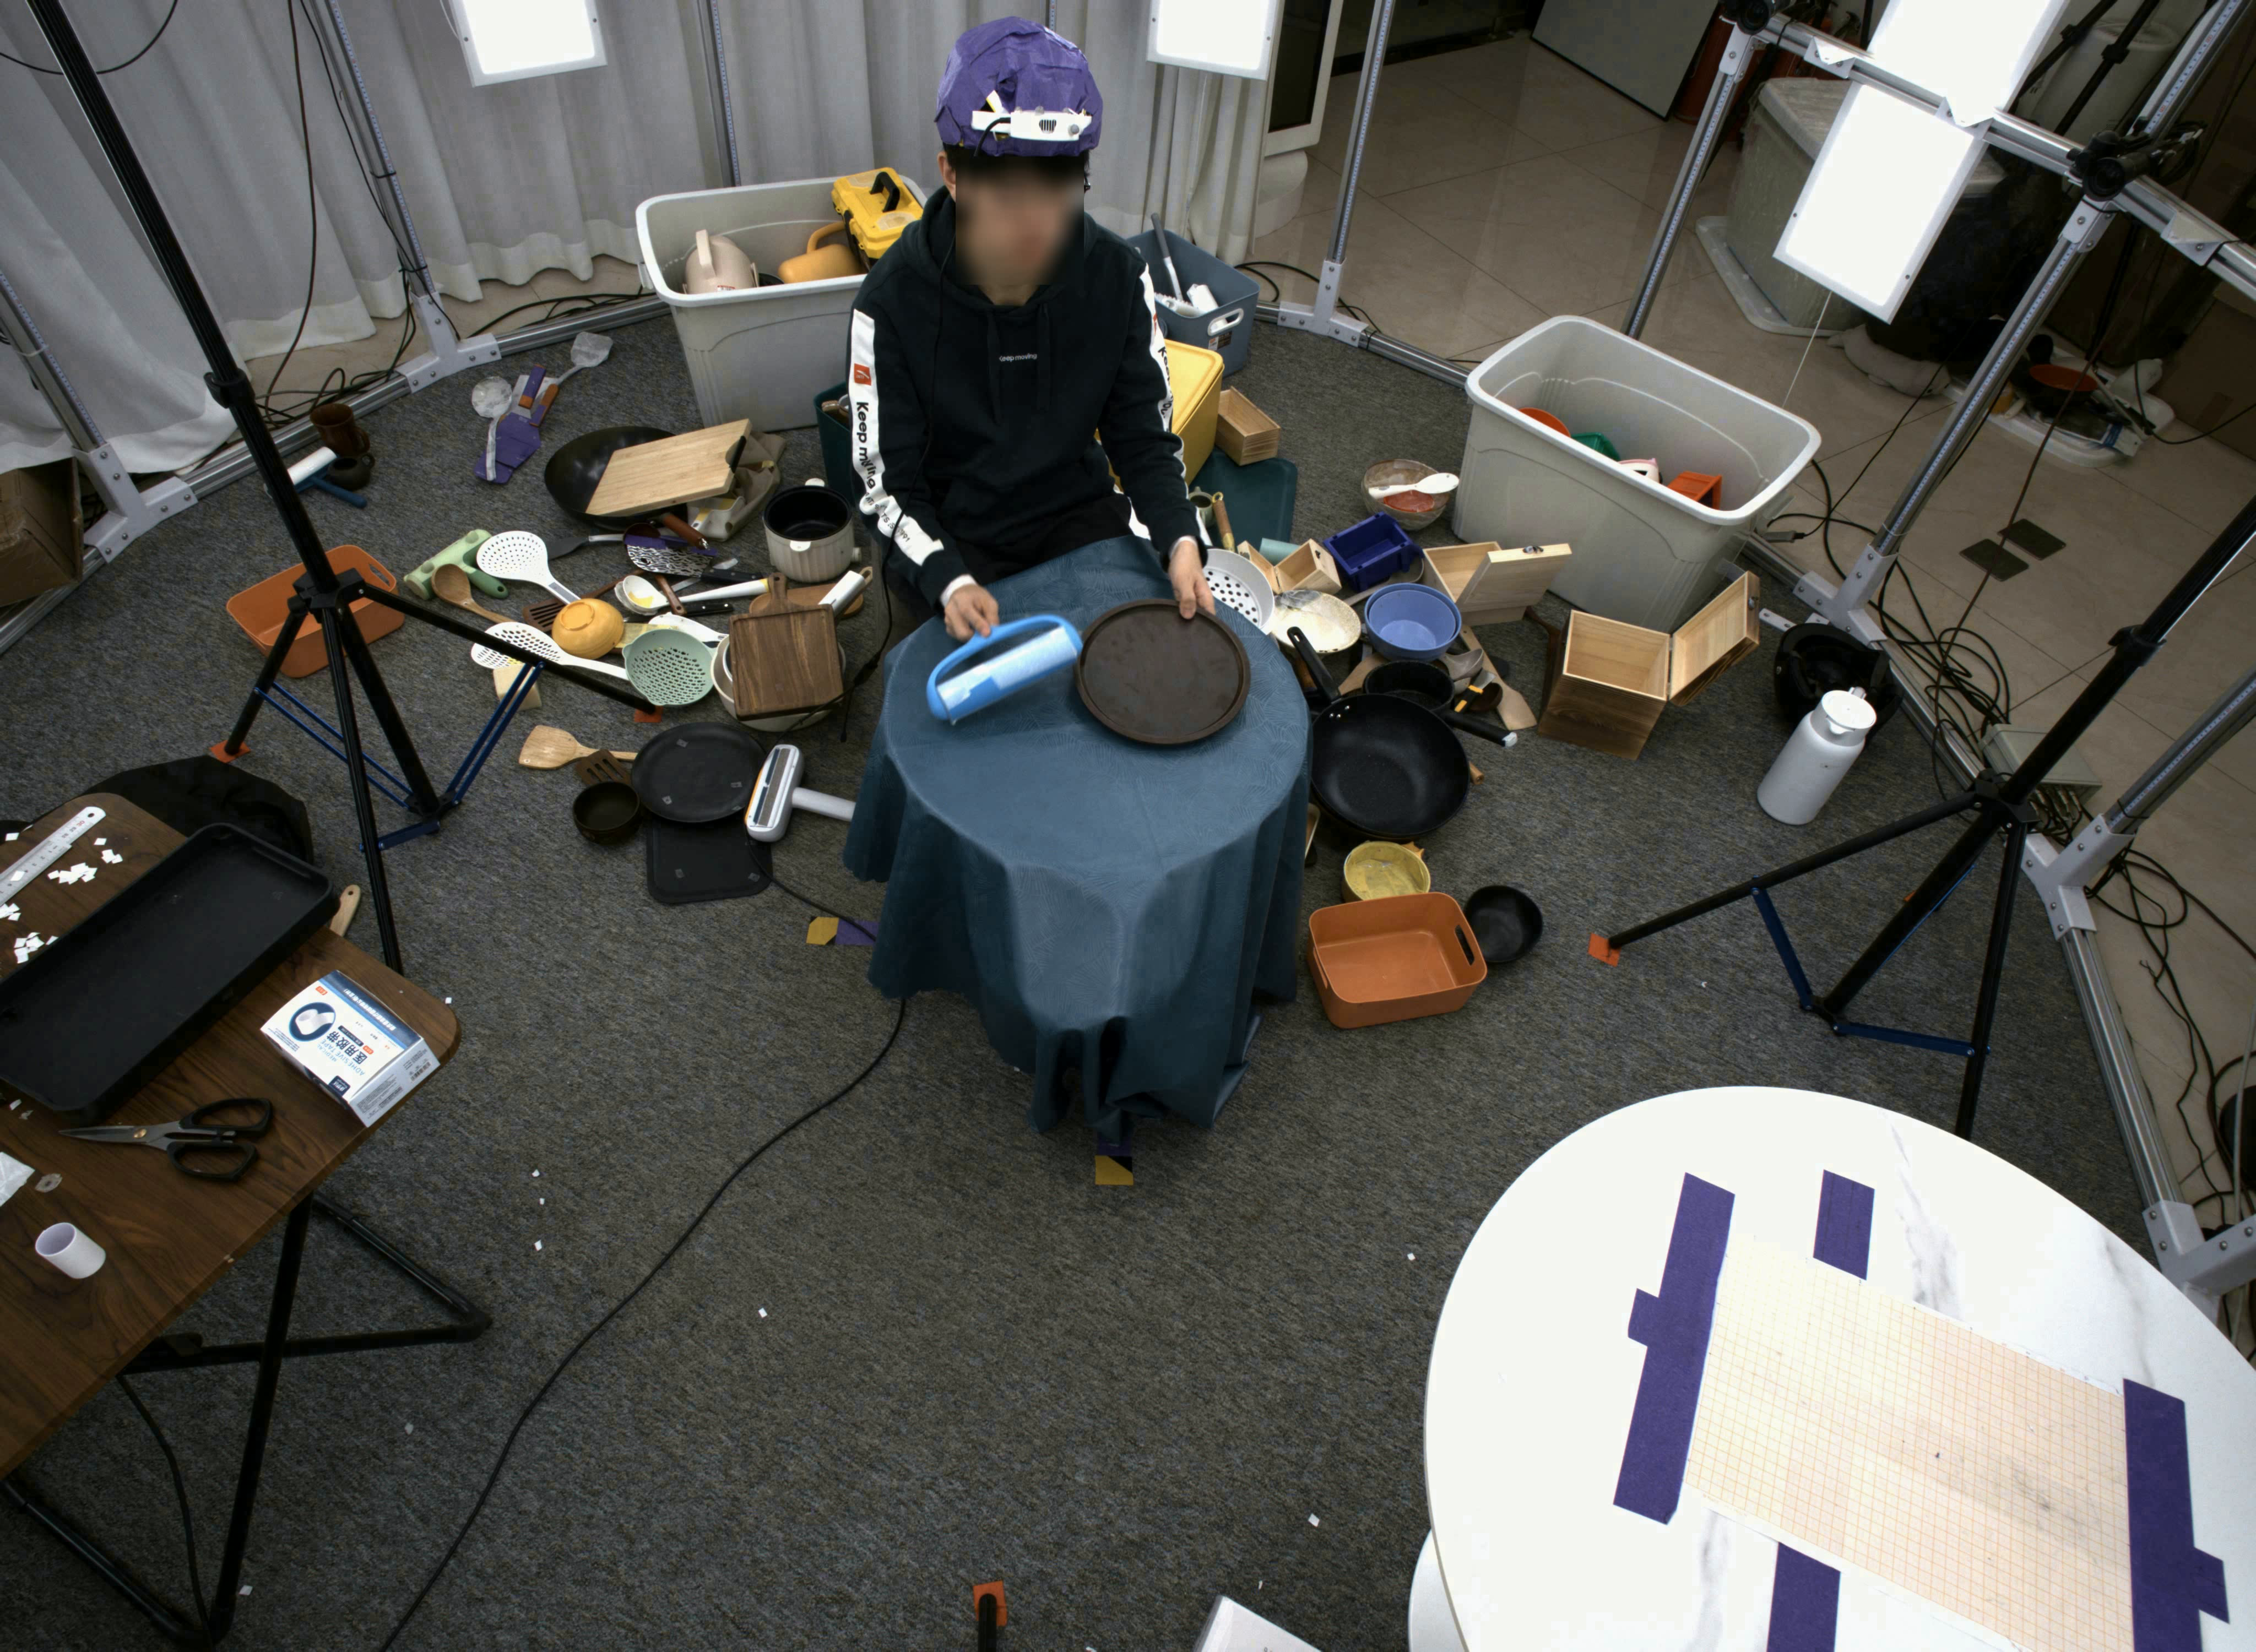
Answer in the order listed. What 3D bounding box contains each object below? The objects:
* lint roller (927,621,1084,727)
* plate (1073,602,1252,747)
[{"bbox_3d":[-0.193,-0.241,1.795,0.229,0.066,0.184,-29,51,-9],"label":"lint roller"},{"bbox_3d":[0.049,-0.217,1.821,0.254,0.028,0.260,1,59,-2],"label":"plate"}]
